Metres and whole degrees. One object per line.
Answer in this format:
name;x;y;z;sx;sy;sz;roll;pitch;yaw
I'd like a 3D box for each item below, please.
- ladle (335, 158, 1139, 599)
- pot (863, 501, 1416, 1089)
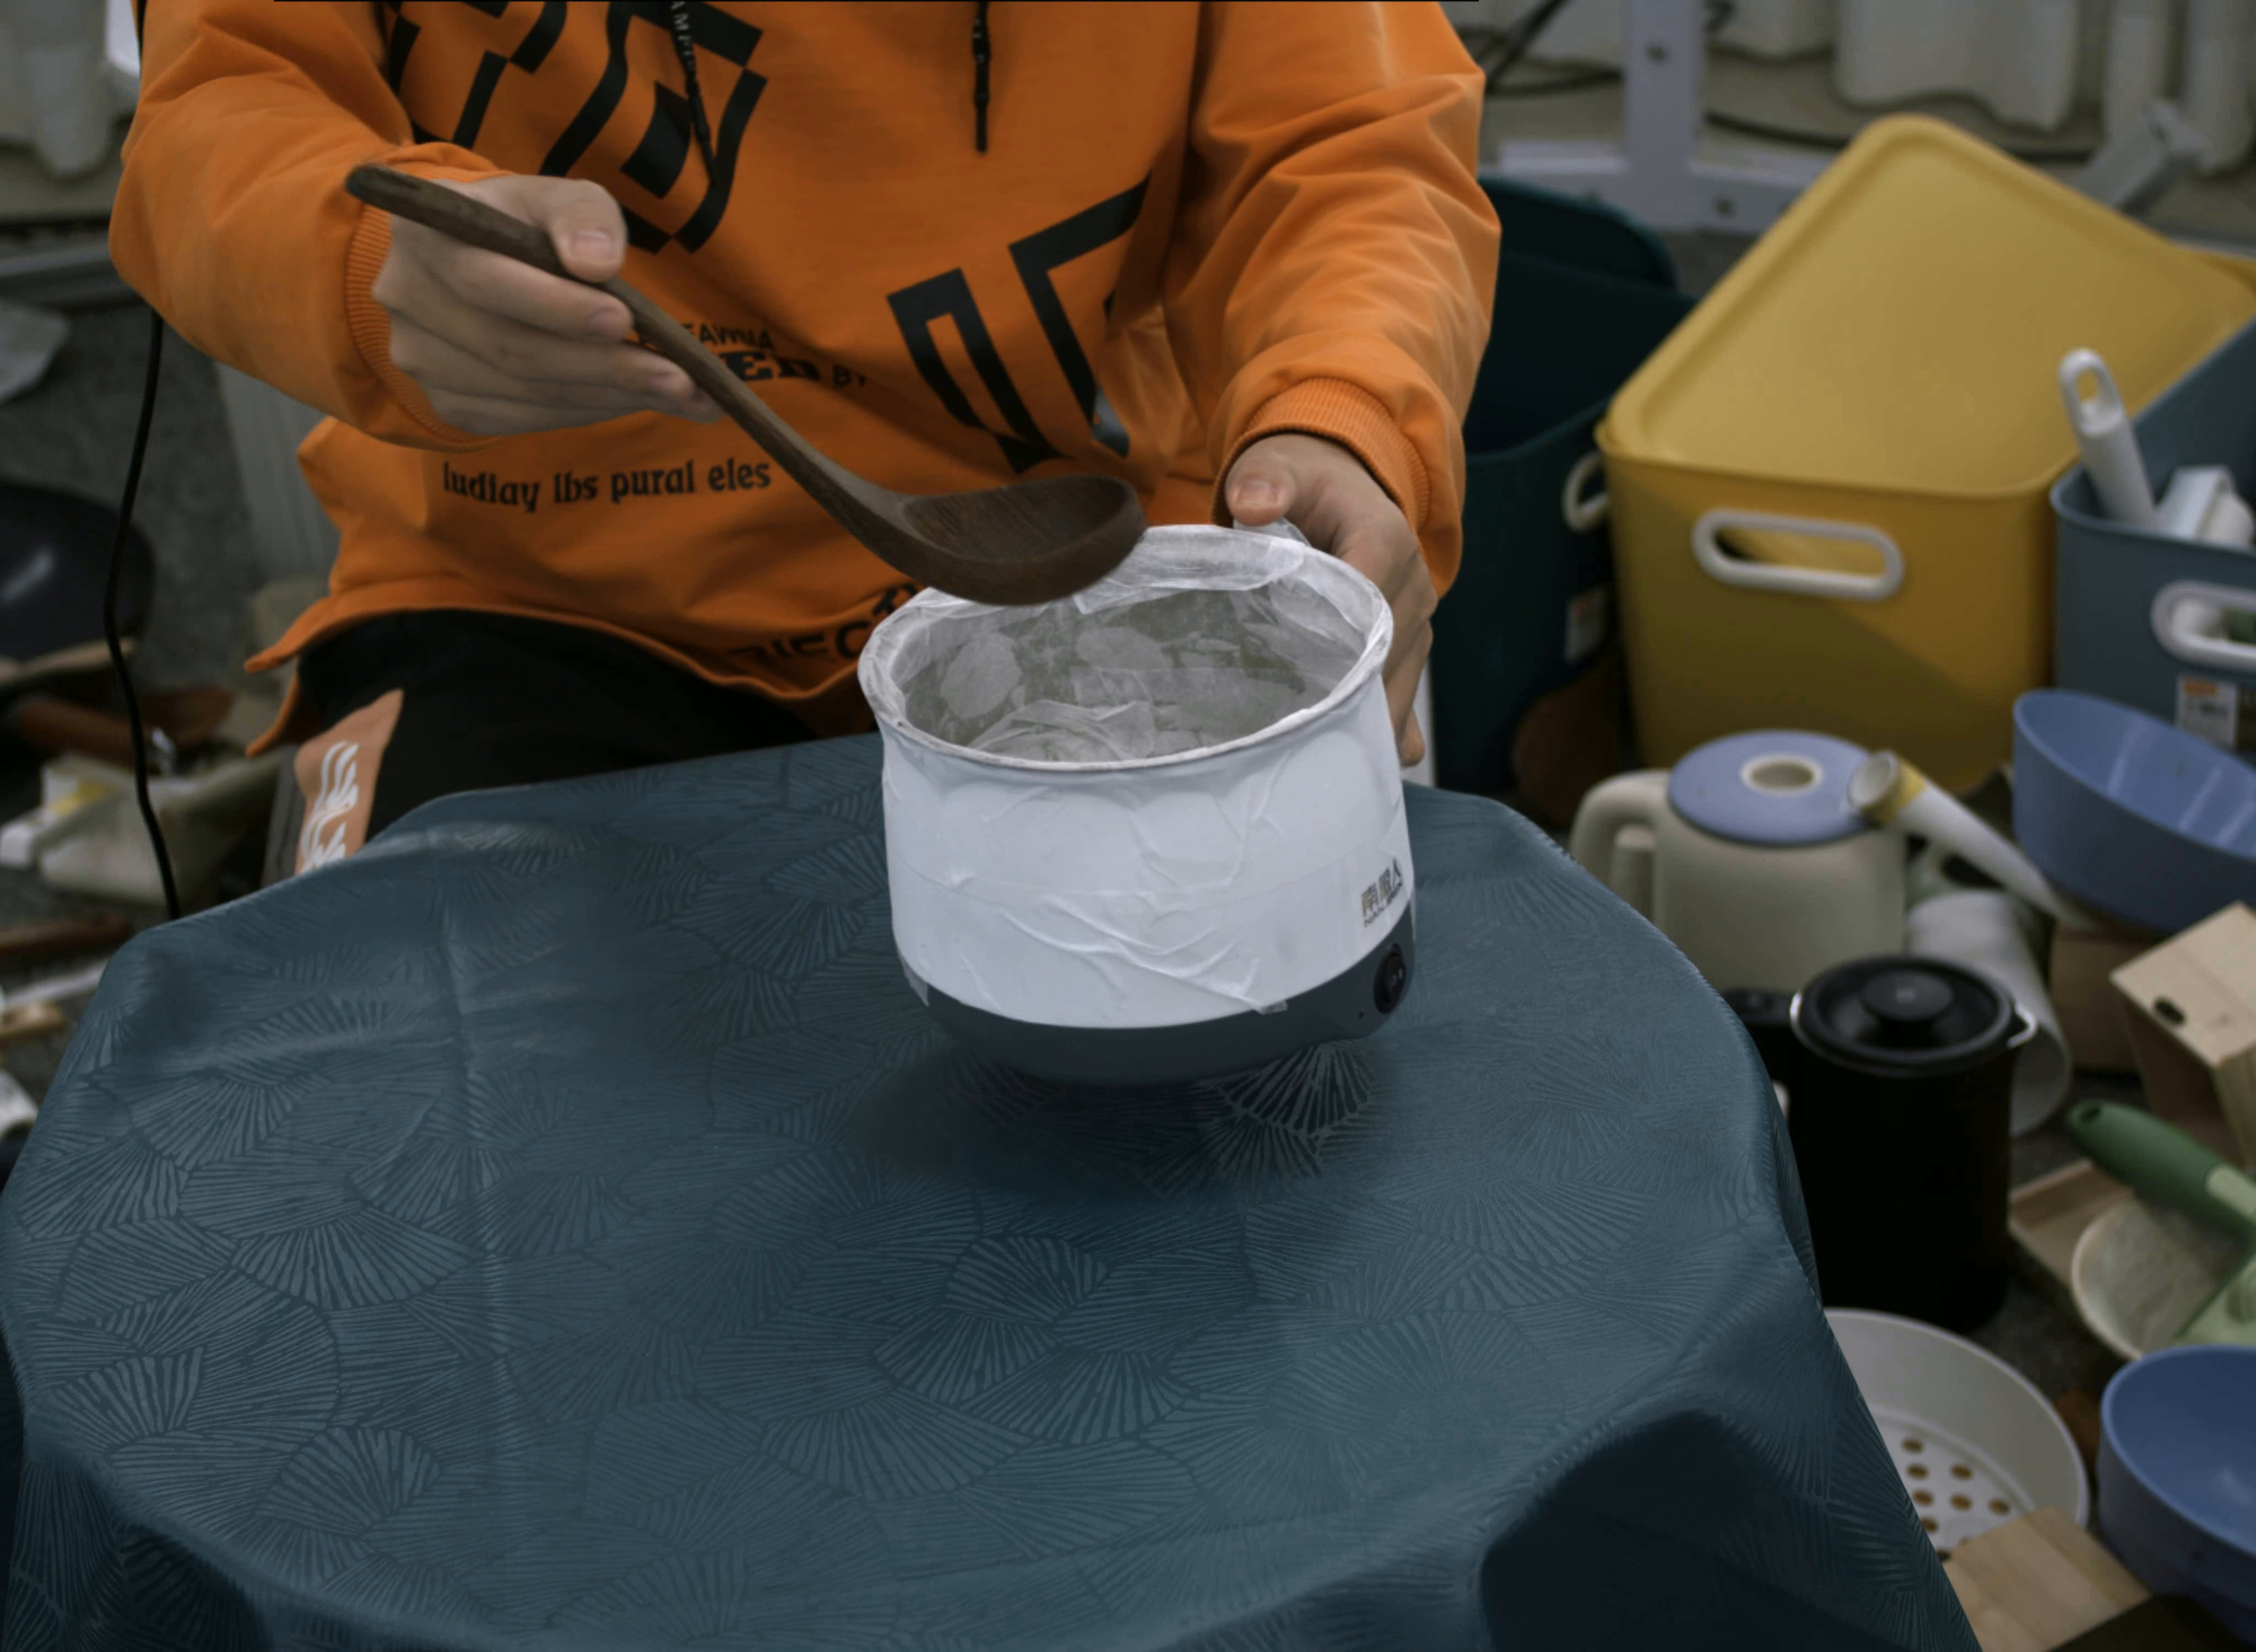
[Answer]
ladle;-0.120;-0.156;1.793;0.273;0.071;0.077;35;11;-16
pot;0.018;-0.018;1.900;0.177;0.135;0.238;8;30;24
